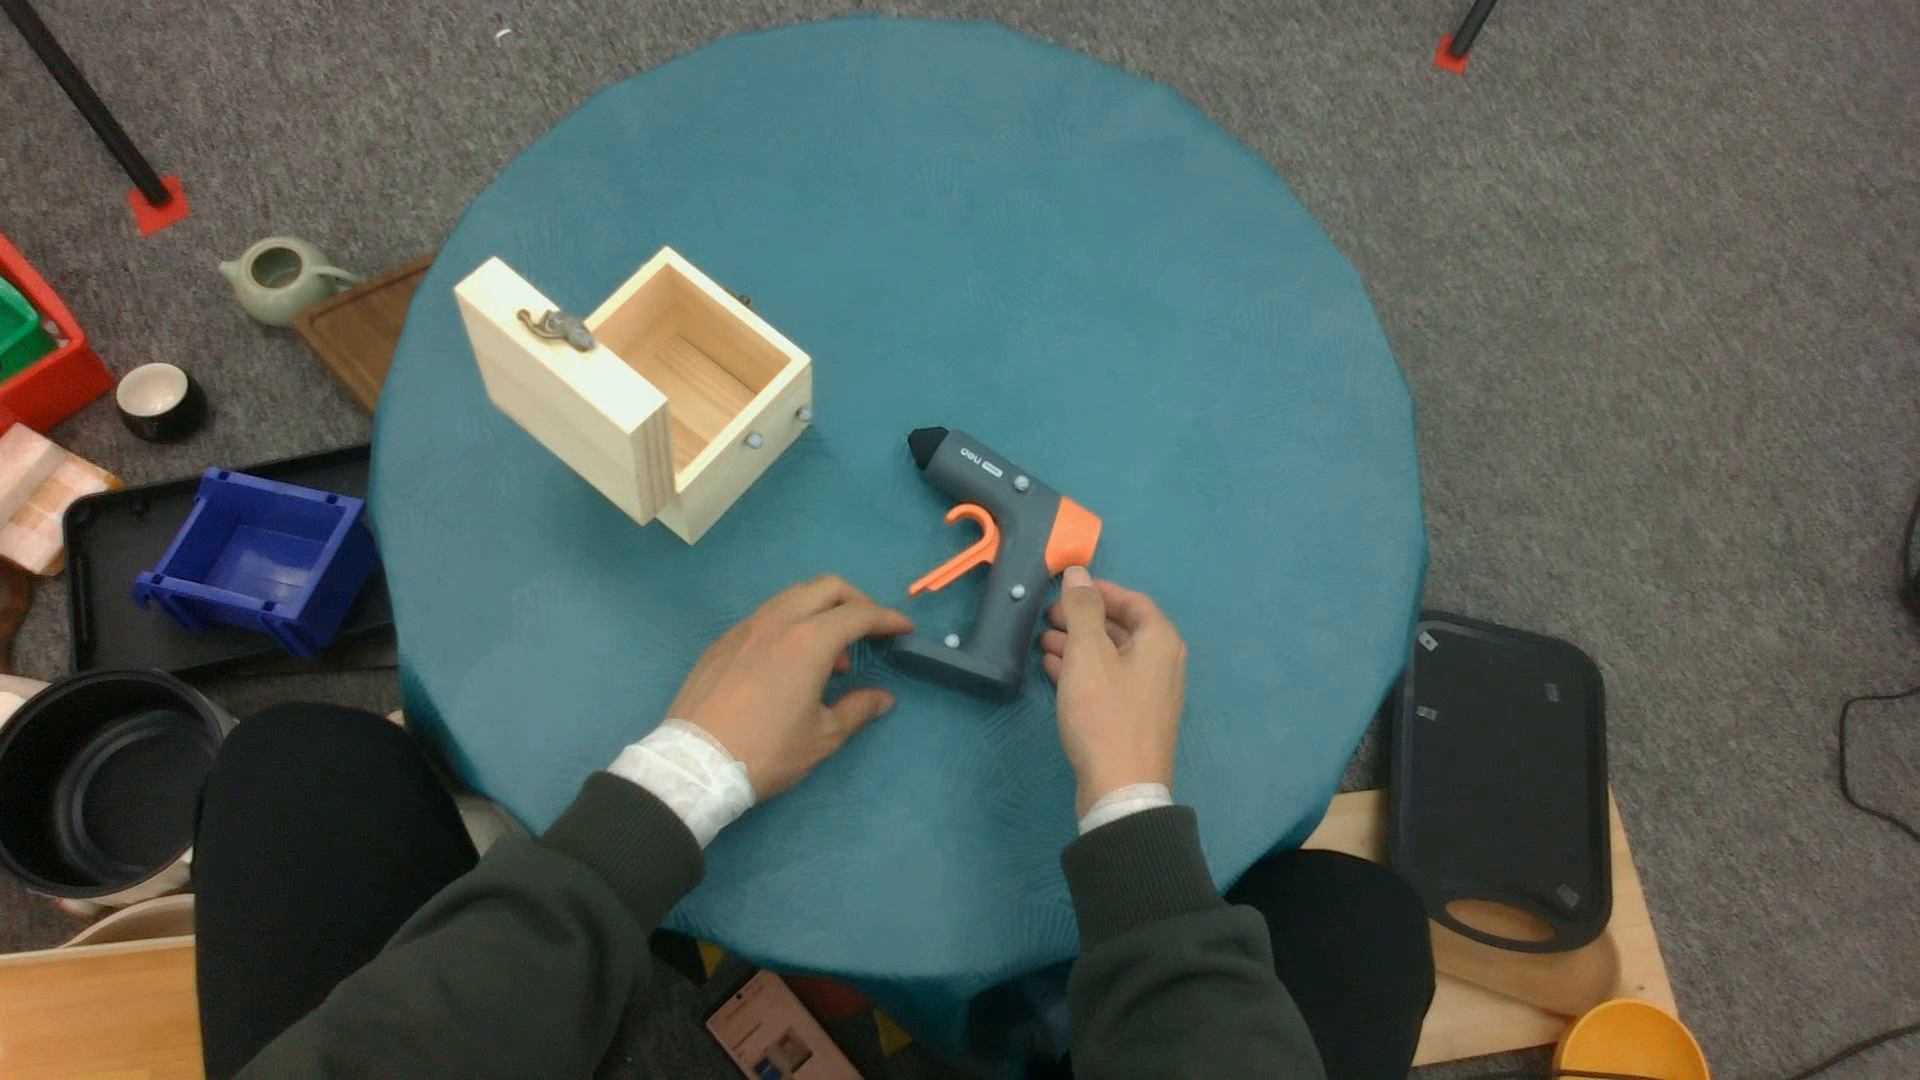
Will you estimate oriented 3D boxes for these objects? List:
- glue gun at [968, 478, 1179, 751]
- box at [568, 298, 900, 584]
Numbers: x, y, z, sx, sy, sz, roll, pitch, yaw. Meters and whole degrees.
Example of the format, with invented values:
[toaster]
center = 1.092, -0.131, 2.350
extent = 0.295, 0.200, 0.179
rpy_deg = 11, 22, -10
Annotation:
[glue gun]
center = 0.054, 0.037, 0.764
extent = 0.118, 0.041, 0.140
rpy_deg = 17, 65, 6
[box]
center = -0.107, -0.069, 0.714
extent = 0.102, 0.184, 0.134
rpy_deg = 38, 69, 12
